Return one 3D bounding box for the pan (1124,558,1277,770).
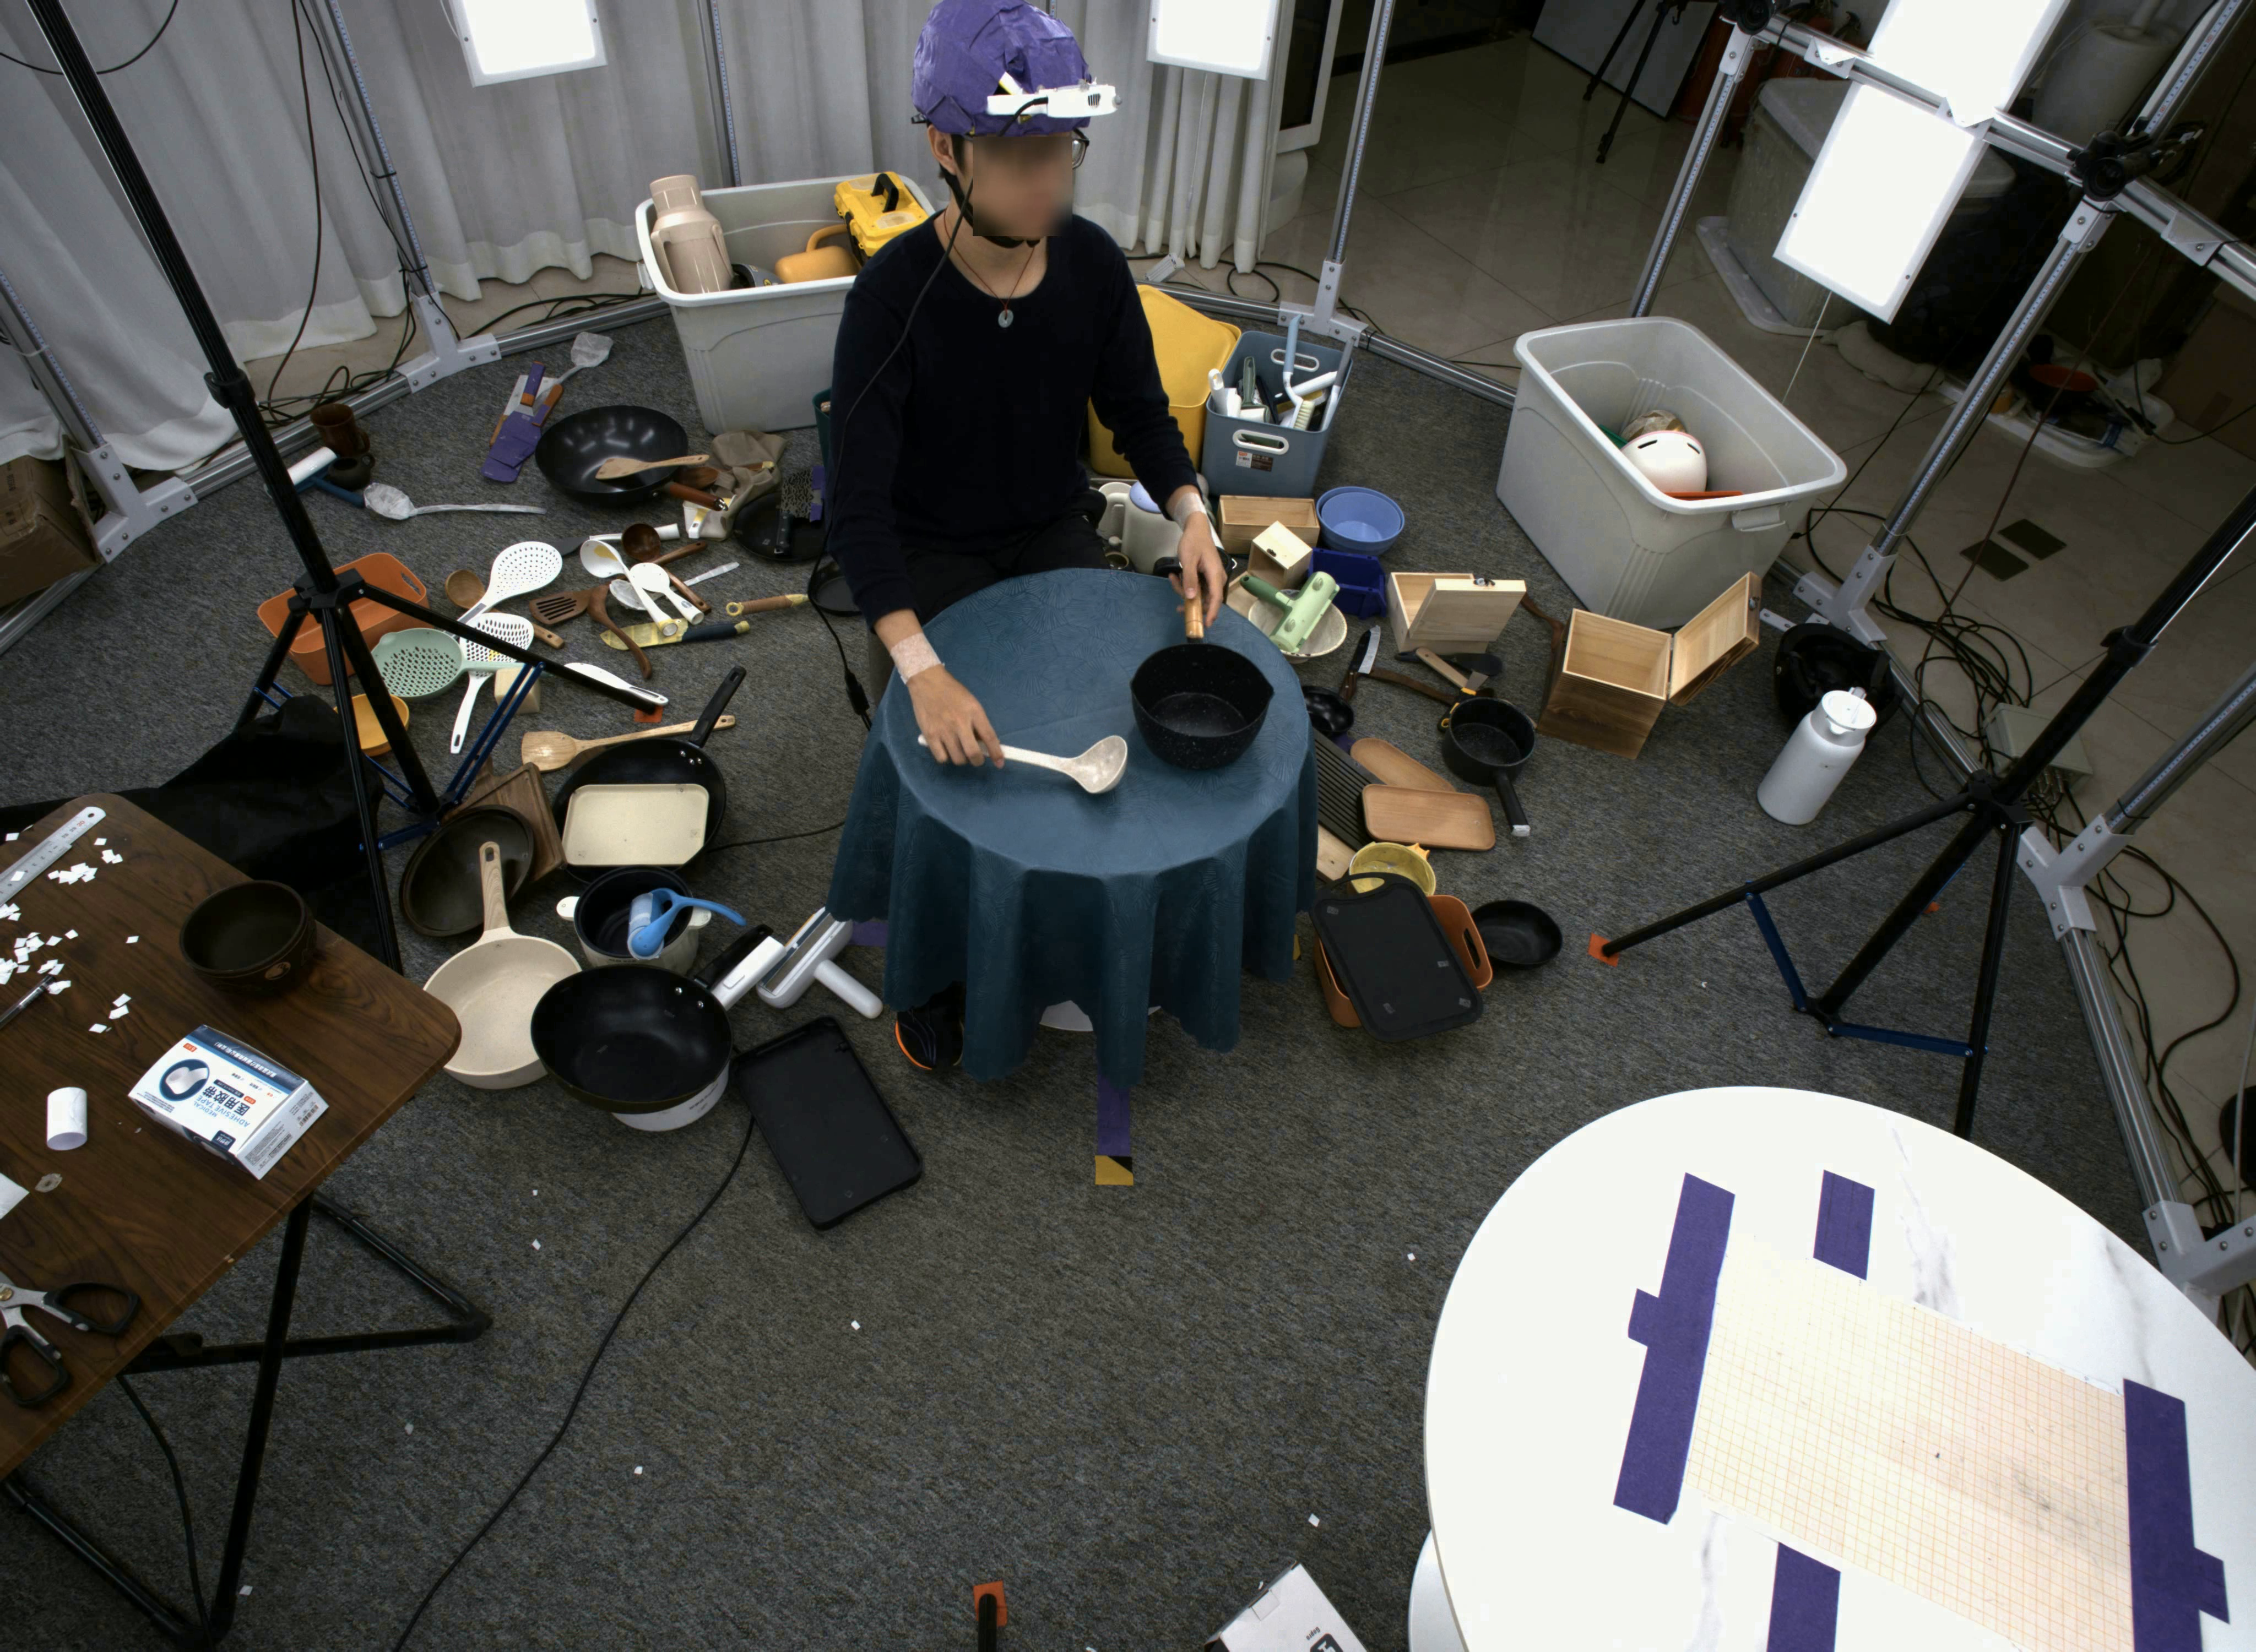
[{"bbox_3d":[0.093,-0.228,1.803,0.207,0.105,0.351,-1,50,-3],"label":"pan"}]

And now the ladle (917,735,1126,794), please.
[{"bbox_3d":[-0.139,-0.102,1.683,0.274,0.068,0.091,11,59,-3],"label":"ladle"}]
